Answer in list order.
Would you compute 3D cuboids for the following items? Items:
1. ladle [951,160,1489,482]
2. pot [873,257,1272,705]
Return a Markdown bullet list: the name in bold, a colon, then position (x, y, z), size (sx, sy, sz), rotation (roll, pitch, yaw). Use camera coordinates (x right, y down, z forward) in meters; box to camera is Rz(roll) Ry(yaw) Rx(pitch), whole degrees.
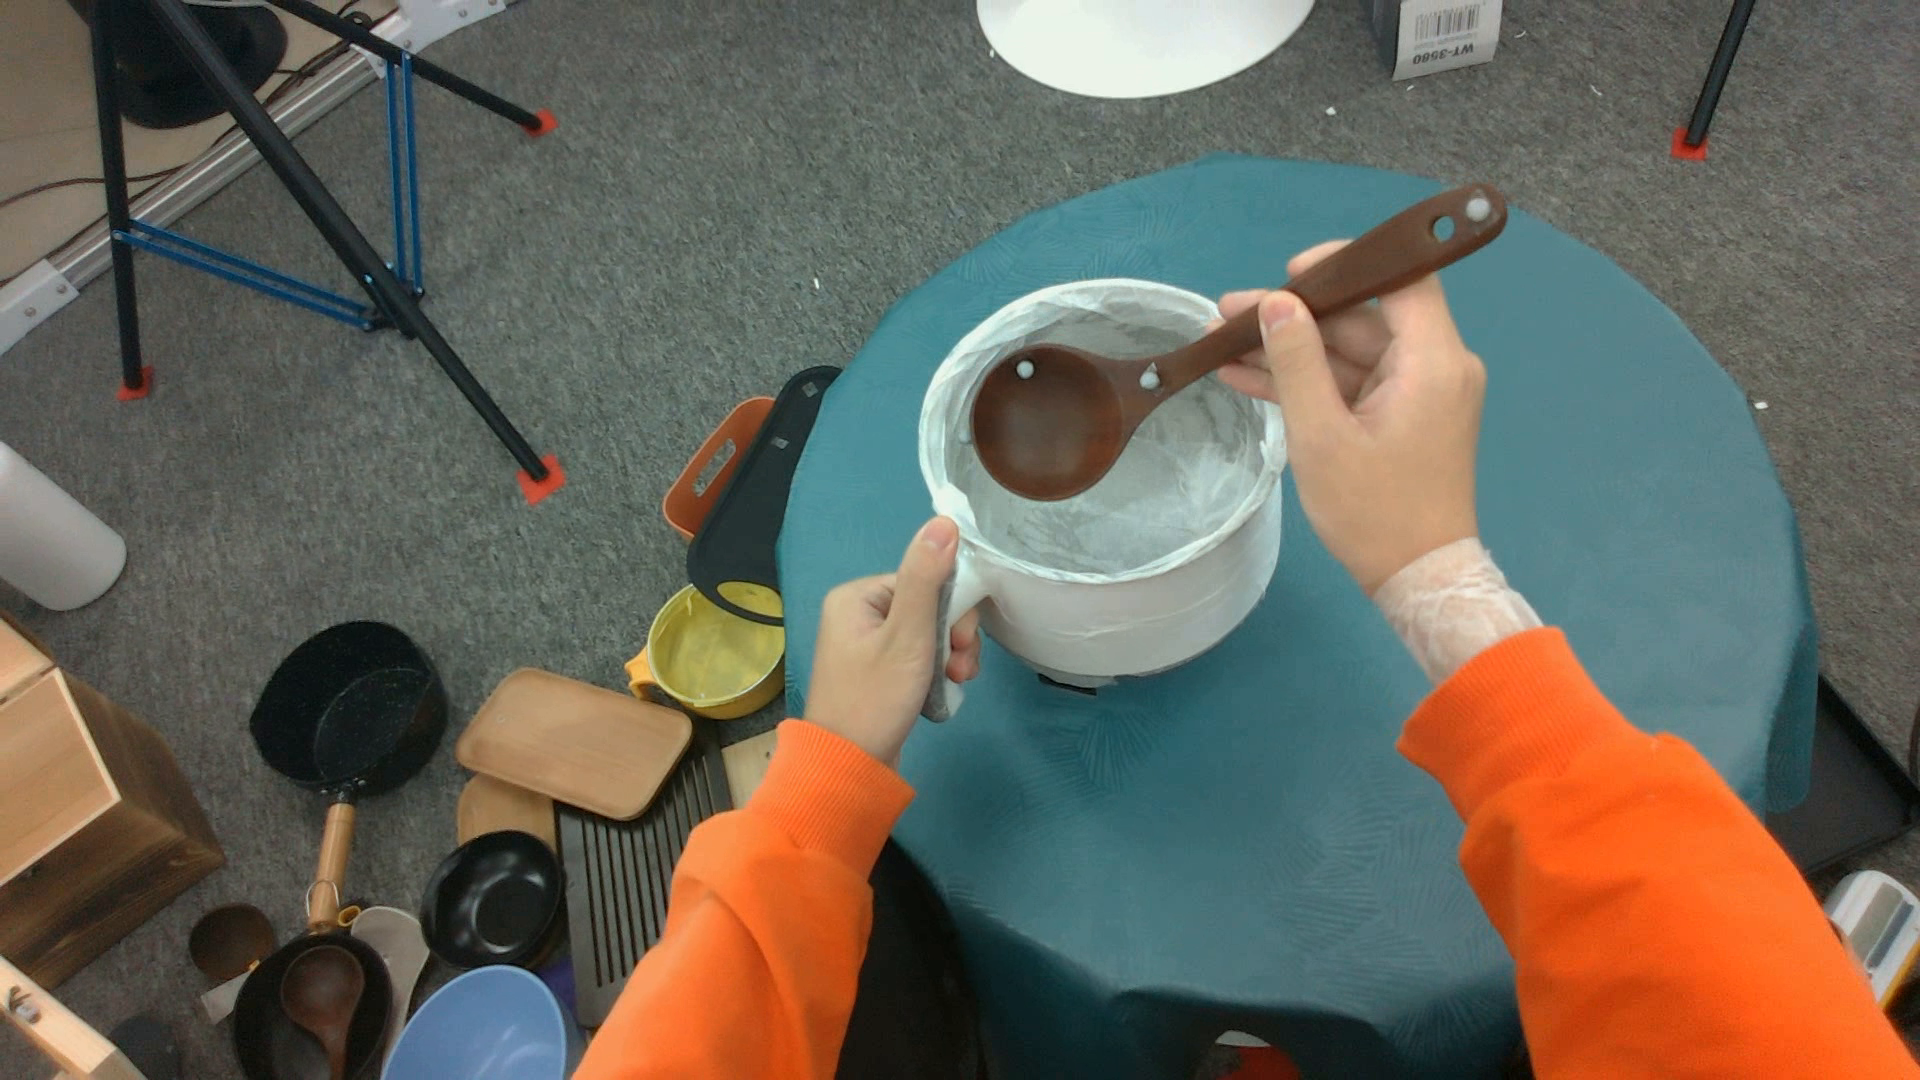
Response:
- **ladle**: position (0.096, -0.091, 0.585), size (0.065, 0.259, 0.076), rotation (-27, 93, -43)
- **pot**: position (0.047, -0.017, 0.700), size (0.234, 0.136, 0.179), rotation (-42, 61, -16)
